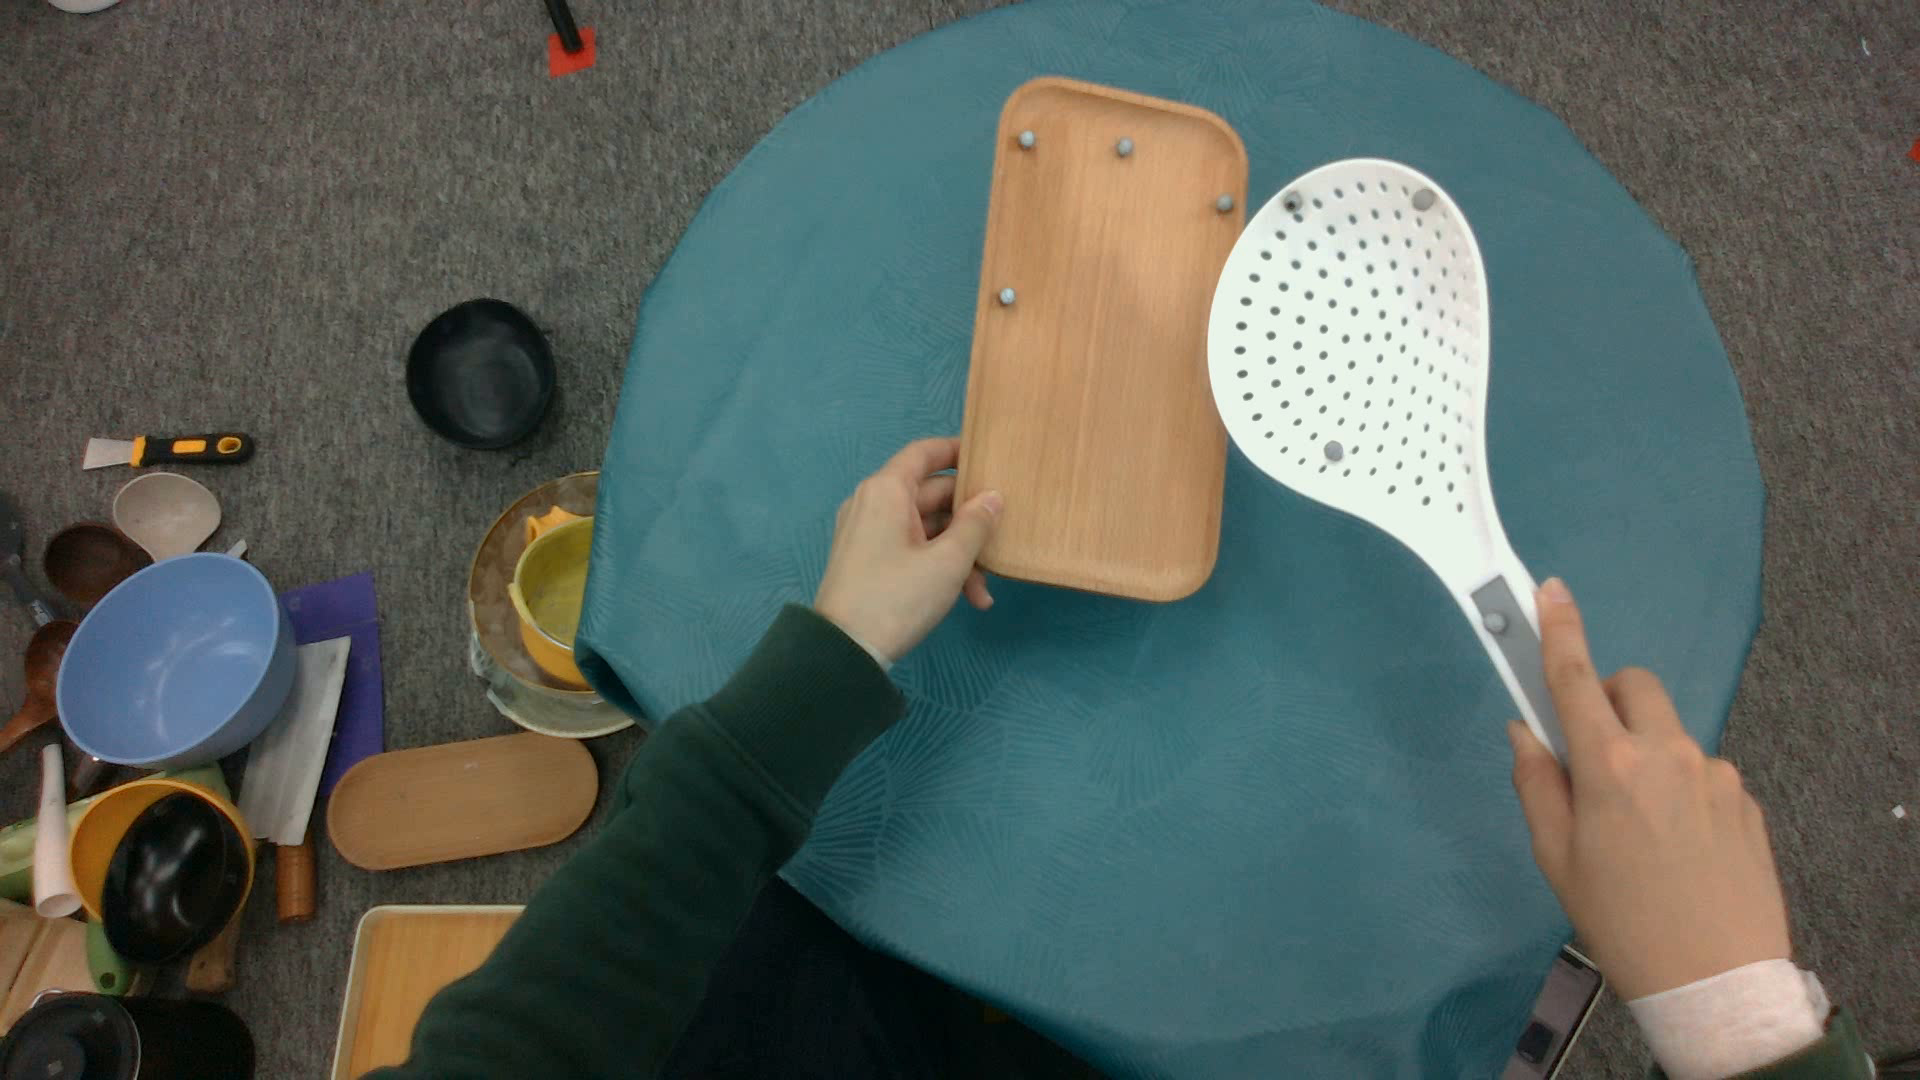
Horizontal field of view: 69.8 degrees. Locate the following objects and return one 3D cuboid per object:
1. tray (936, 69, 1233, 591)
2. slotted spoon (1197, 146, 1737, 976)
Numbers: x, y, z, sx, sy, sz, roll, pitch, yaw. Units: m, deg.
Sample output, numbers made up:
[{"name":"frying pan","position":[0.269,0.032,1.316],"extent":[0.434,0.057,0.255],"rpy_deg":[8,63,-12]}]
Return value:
[{"name":"tray","position":[0.062,-0.103,0.658],"extent":[0.130,0.023,0.251],"rpy_deg":[9,77,-8]},{"name":"slotted spoon","position":[0.193,-0.004,0.538],"extent":[0.046,0.135,0.351],"rpy_deg":[2,56,-35]}]
